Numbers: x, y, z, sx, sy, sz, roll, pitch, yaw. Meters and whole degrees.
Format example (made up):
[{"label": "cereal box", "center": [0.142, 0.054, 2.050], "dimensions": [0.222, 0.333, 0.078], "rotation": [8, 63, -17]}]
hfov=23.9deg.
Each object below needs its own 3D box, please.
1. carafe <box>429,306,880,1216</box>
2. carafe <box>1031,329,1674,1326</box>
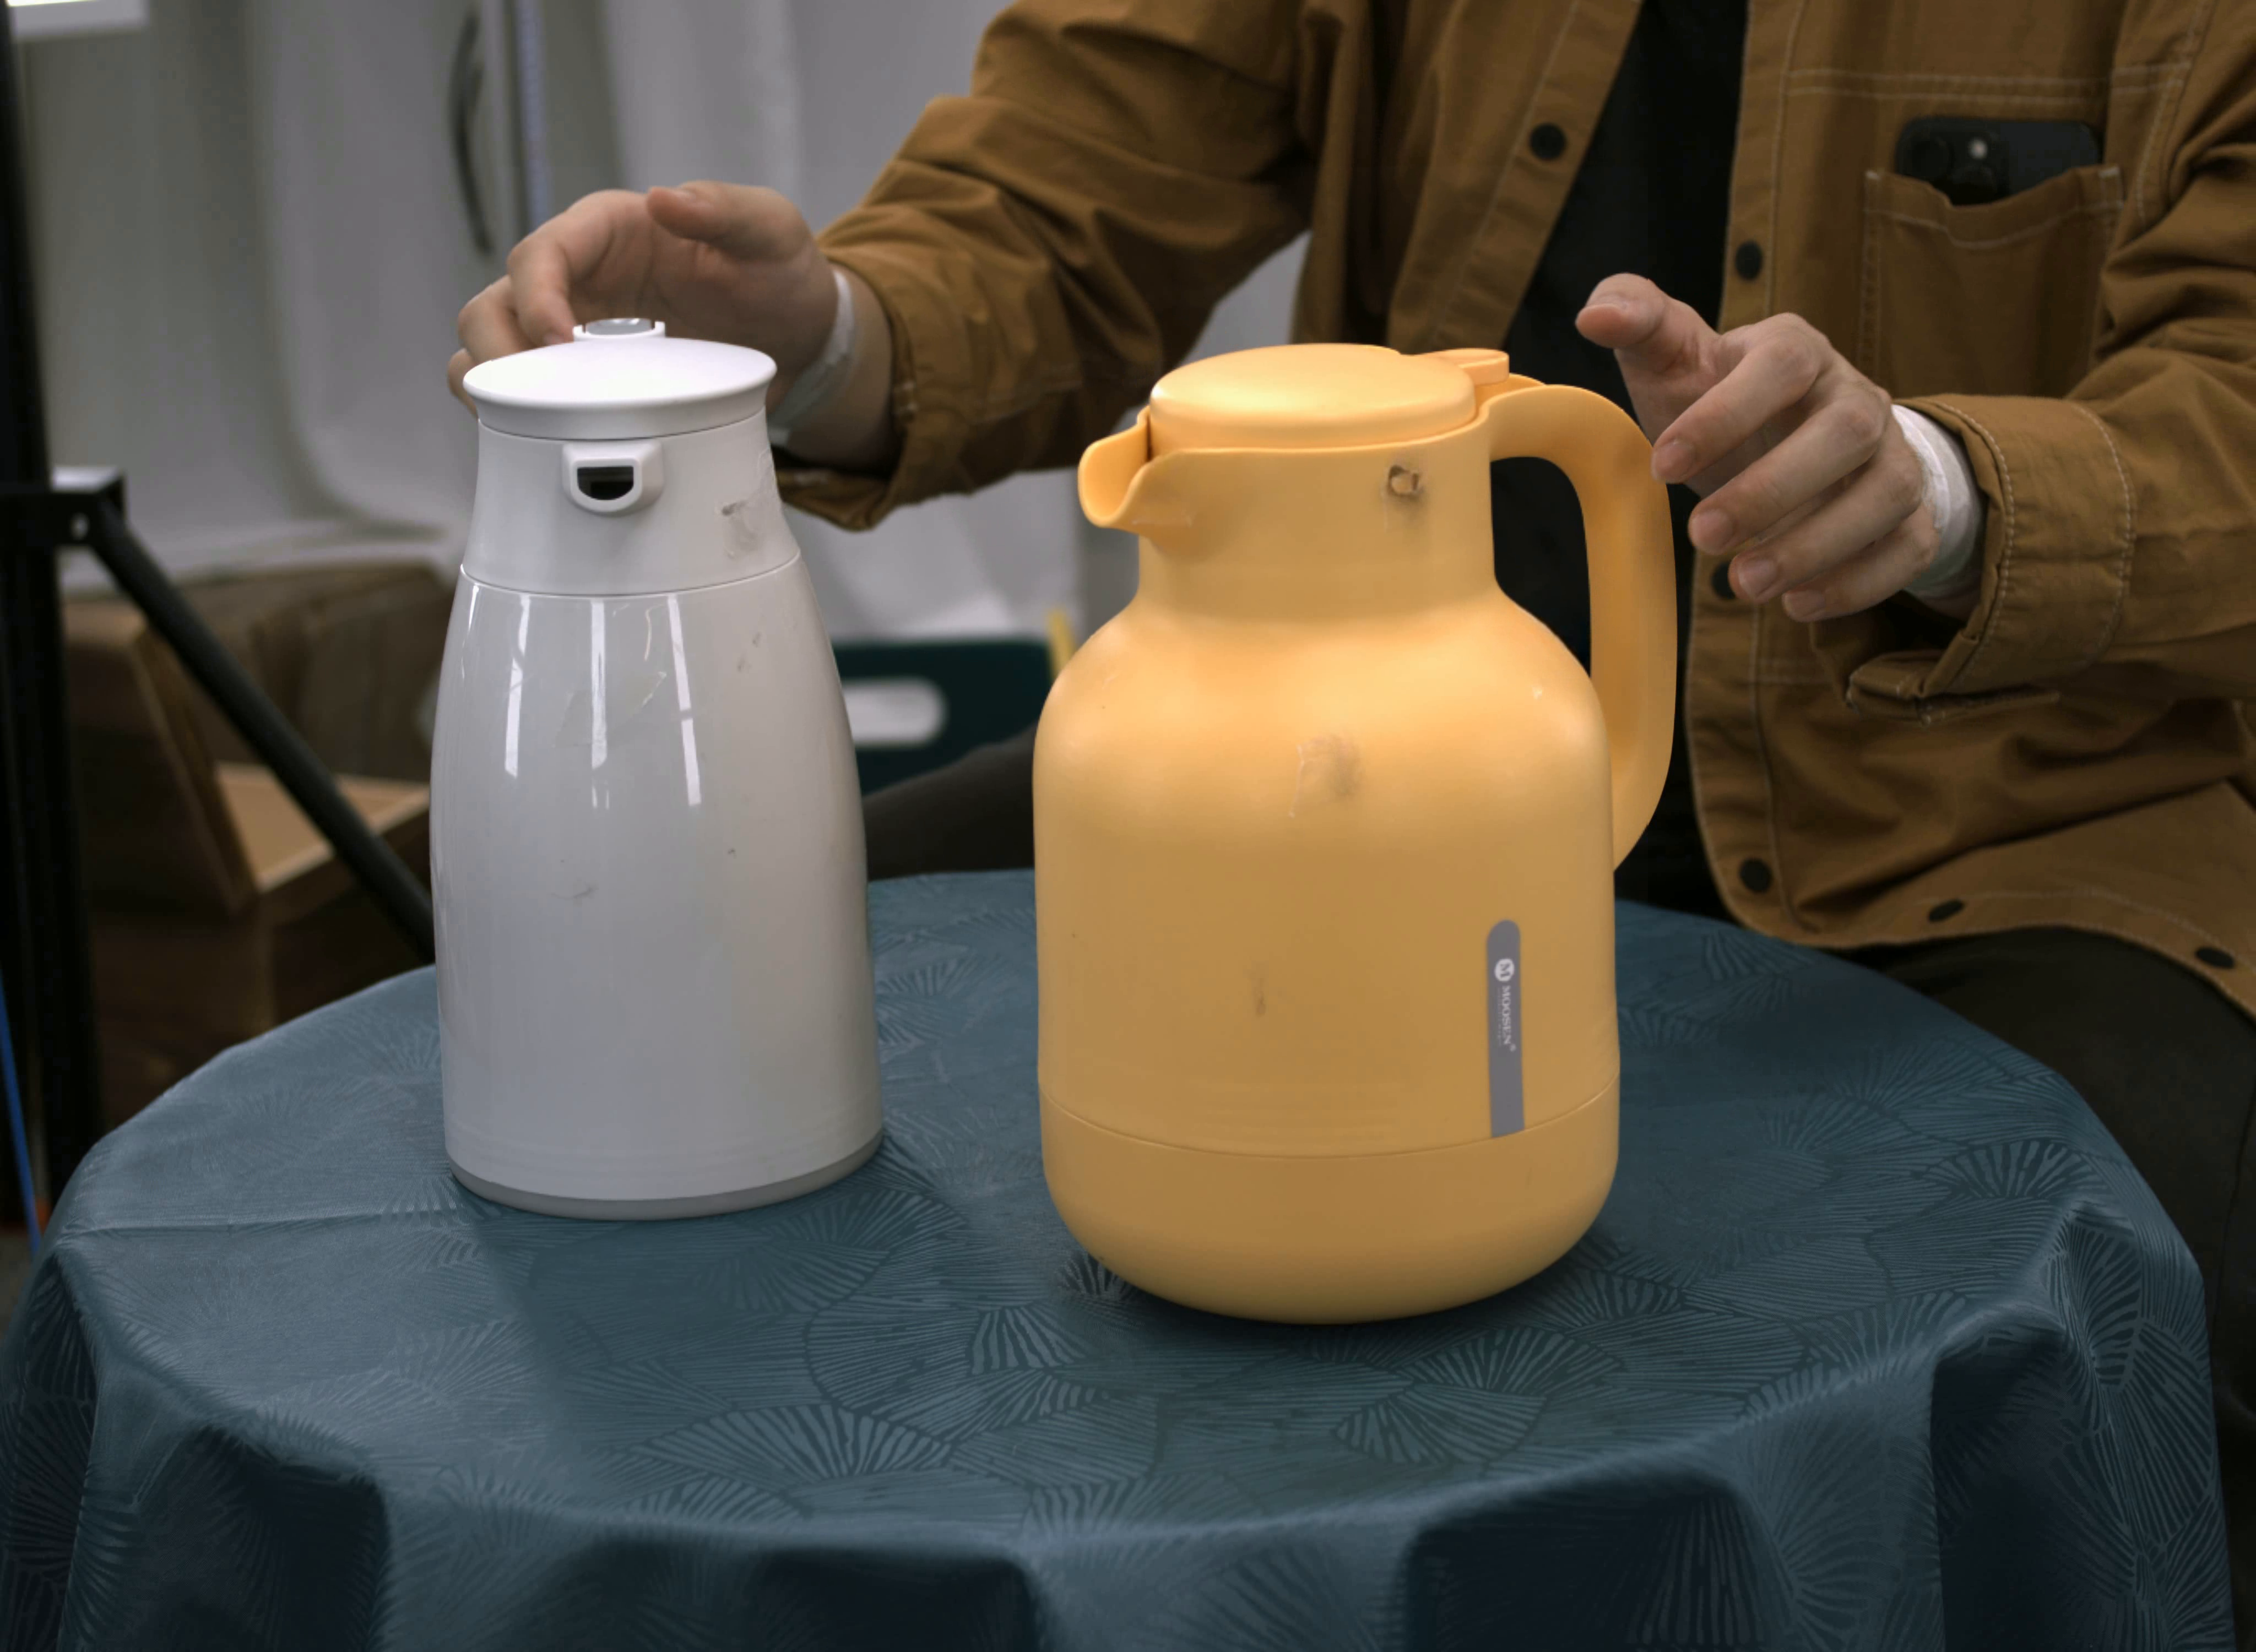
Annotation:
[{"label": "carafe", "center": [-0.145, -0.028, 1.600], "dimensions": [0.132, 0.248, 0.168], "rotation": [-2, 14, 1]}, {"label": "carafe", "center": [0.071, -0.007, 1.470], "dimensions": [0.198, 0.260, 0.167], "rotation": [-14, 21, -31]}]
